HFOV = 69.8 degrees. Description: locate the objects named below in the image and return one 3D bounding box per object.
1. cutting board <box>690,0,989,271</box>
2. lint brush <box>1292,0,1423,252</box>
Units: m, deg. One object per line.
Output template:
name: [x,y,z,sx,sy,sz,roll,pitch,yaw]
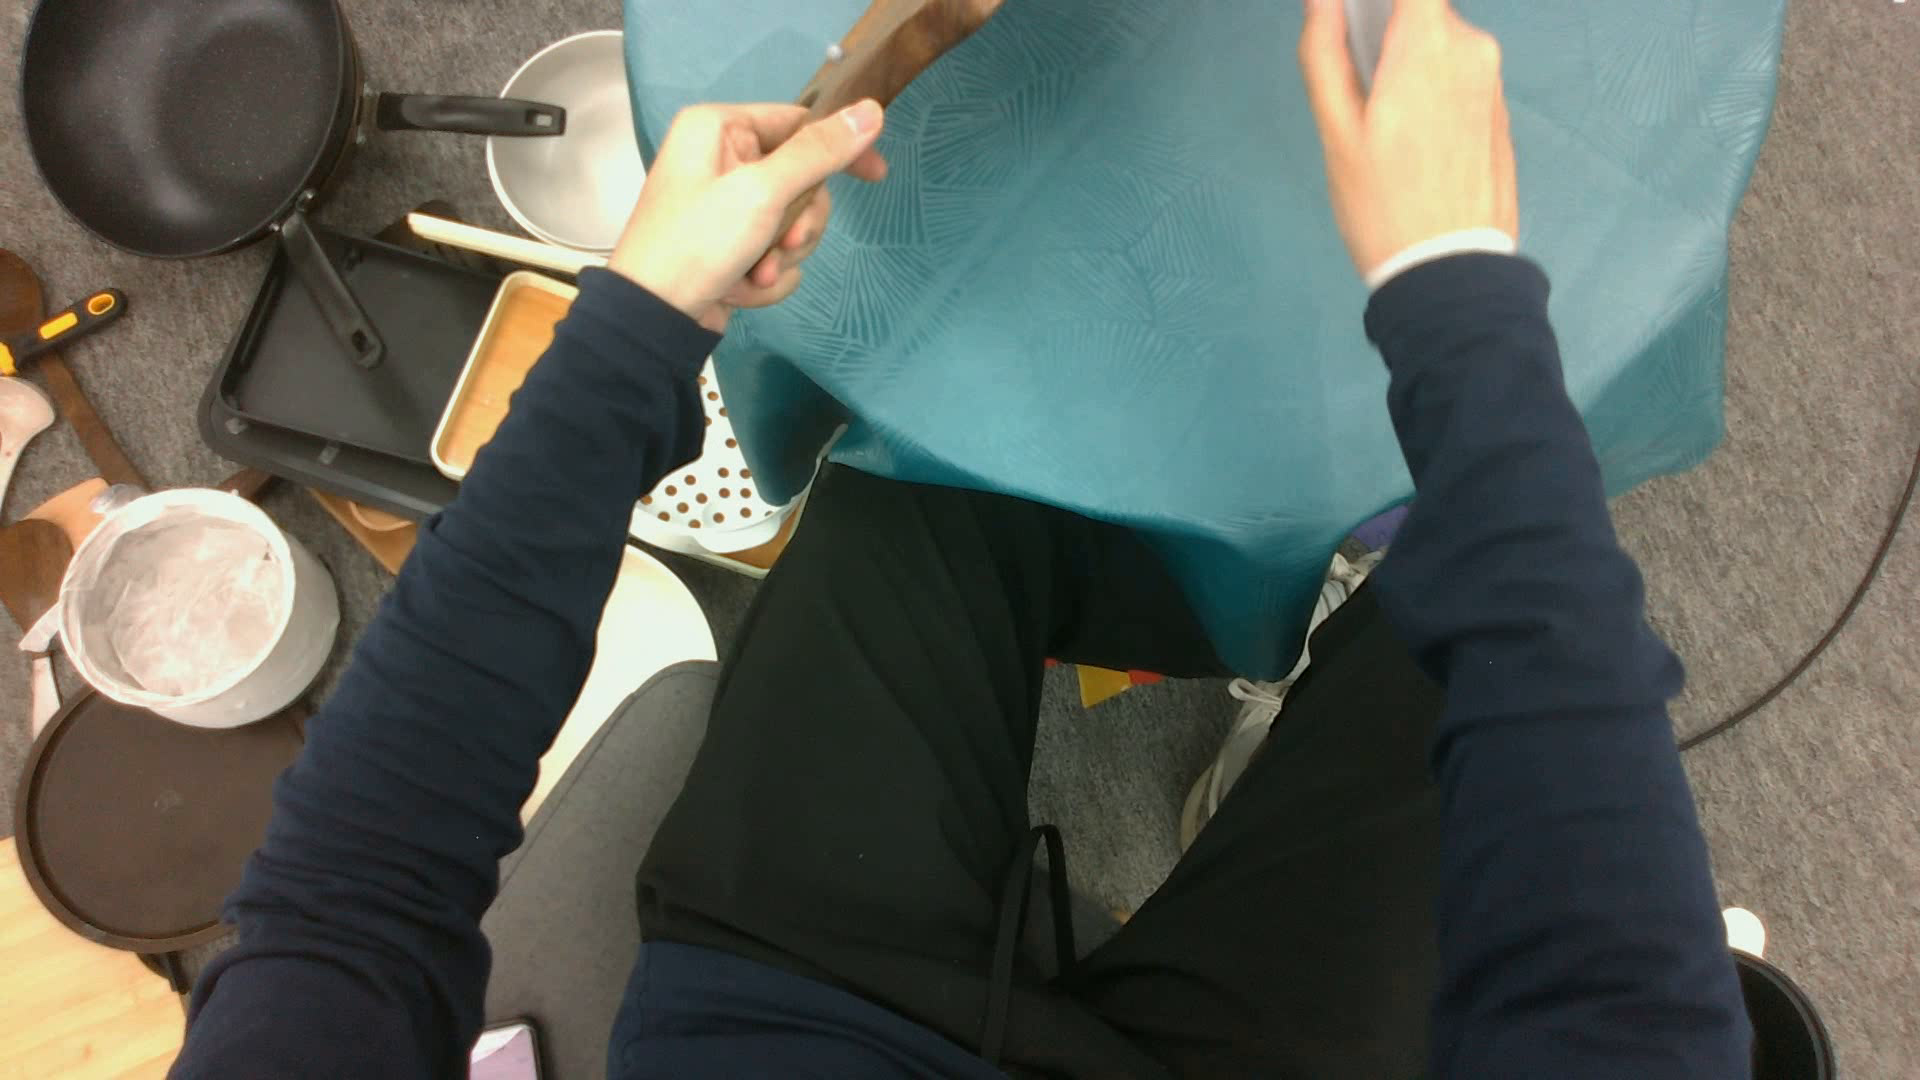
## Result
cutting board: [-0.005,-0.256,0.599,0.023,0.201,0.353,40,77,-23]
lint brush: [0.126,-0.260,0.535,0.060,0.021,0.308,-26,102,-27]
